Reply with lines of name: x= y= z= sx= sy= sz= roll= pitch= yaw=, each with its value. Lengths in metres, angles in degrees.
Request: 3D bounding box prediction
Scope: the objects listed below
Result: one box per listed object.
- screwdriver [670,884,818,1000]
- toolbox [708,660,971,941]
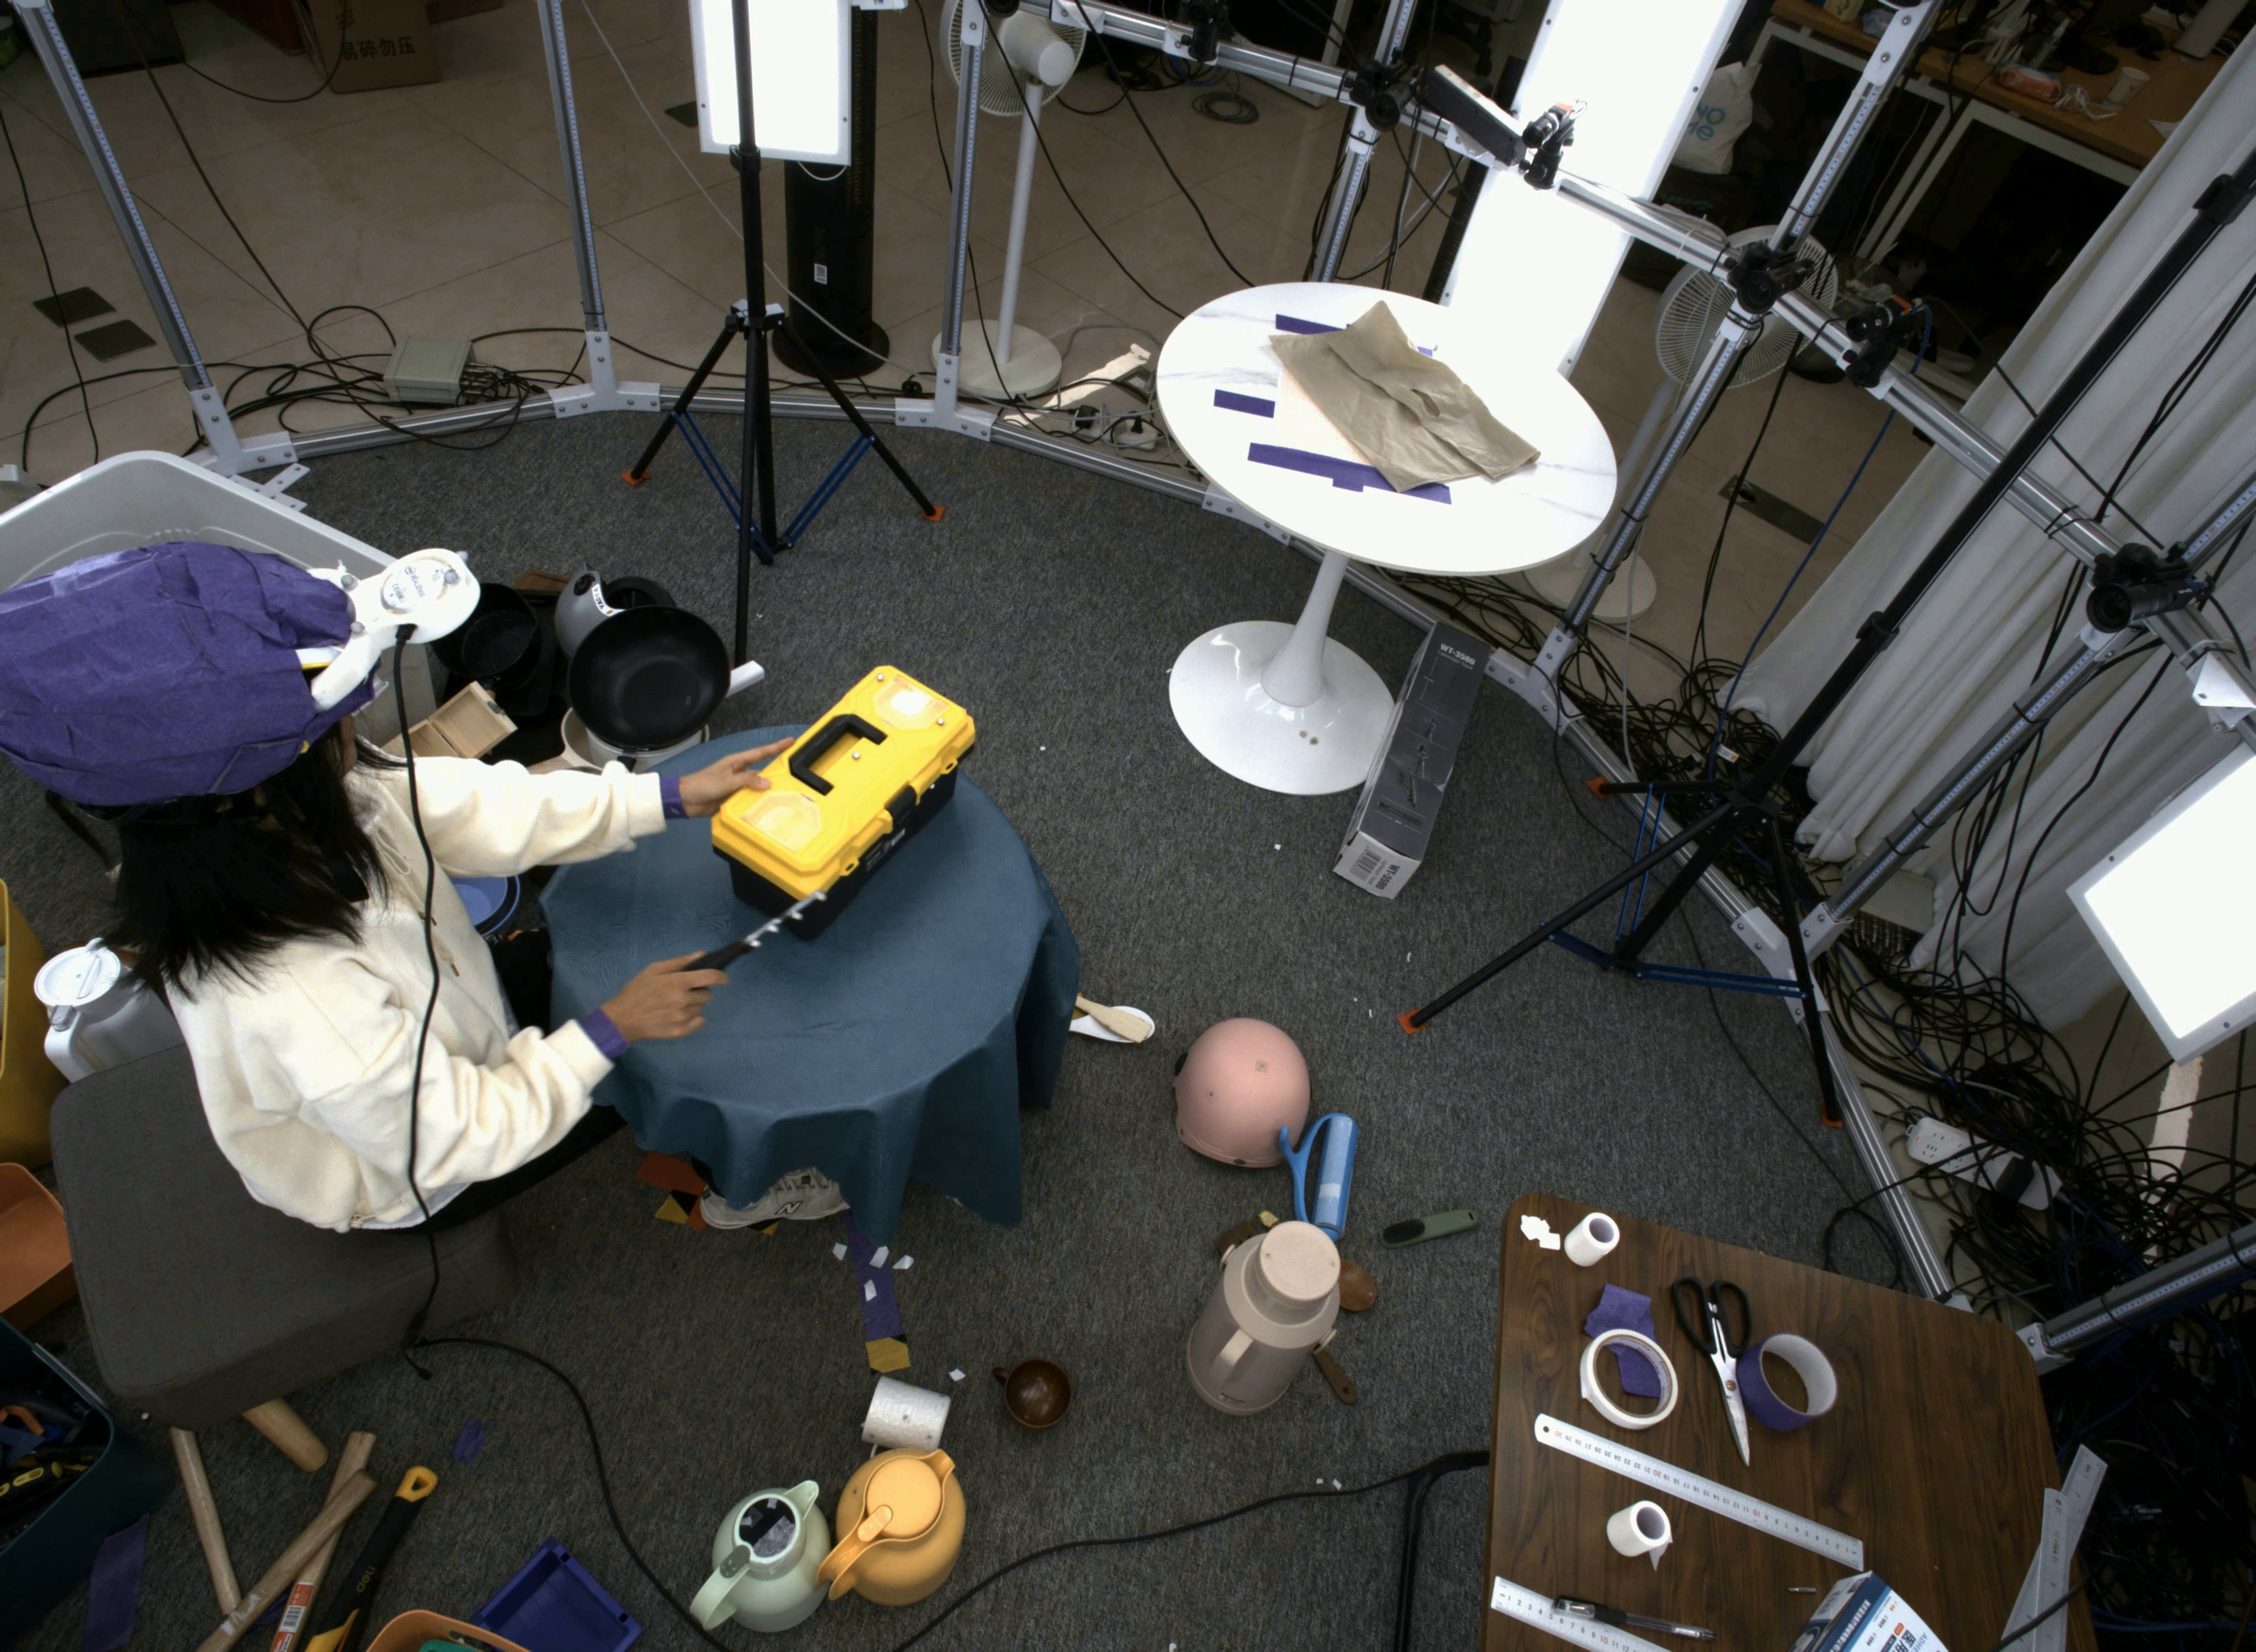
screwdriver: x=-0.418 y=0.123 z=1.412 sx=0.197 sy=0.032 sz=0.030 roll=-35 pitch=64 yaw=-7
toolbox: x=-0.357 y=-0.033 z=1.649 sx=0.178 sy=0.176 sz=0.350 roll=30 pitch=52 yaw=10
